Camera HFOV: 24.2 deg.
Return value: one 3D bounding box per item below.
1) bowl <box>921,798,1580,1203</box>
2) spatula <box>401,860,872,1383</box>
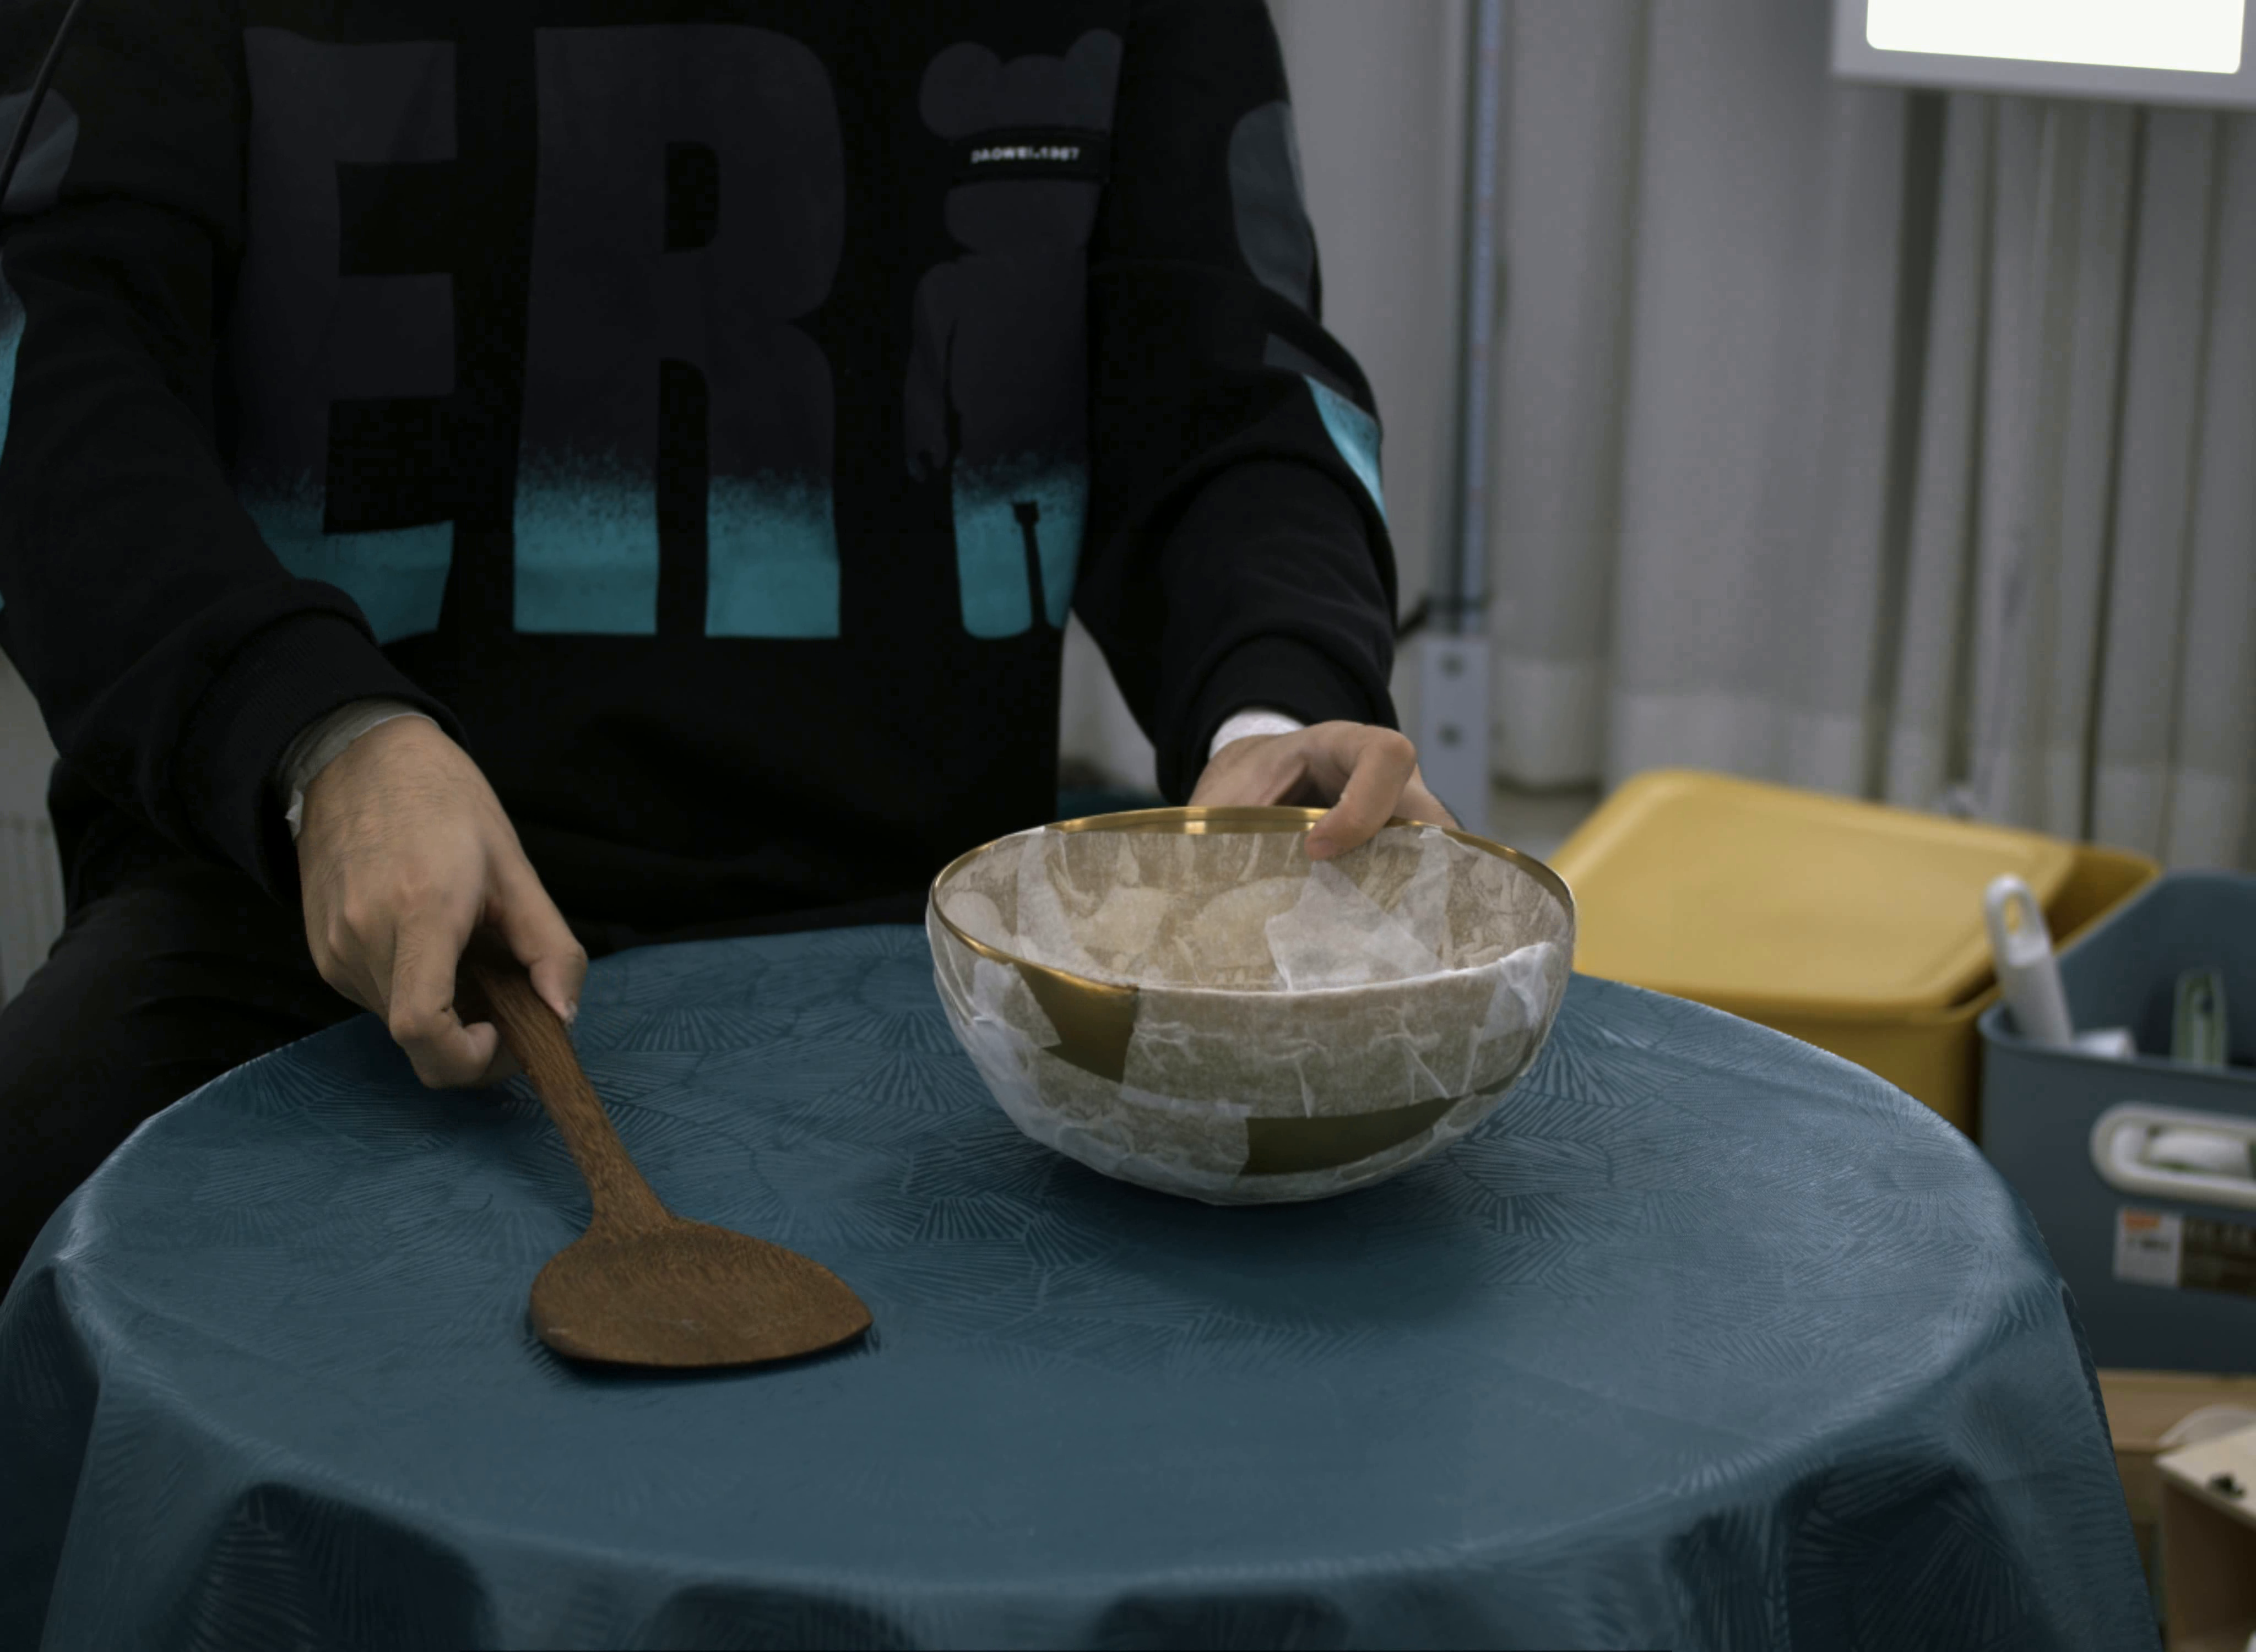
[{"bbox_3d":[0.039,0.061,1.637,0.214,0.095,0.213,0,16,1],"label":"bowl"},{"bbox_3d":[-0.174,0.083,1.636,0.096,0.016,0.381,-3,24,-20],"label":"spatula"}]
